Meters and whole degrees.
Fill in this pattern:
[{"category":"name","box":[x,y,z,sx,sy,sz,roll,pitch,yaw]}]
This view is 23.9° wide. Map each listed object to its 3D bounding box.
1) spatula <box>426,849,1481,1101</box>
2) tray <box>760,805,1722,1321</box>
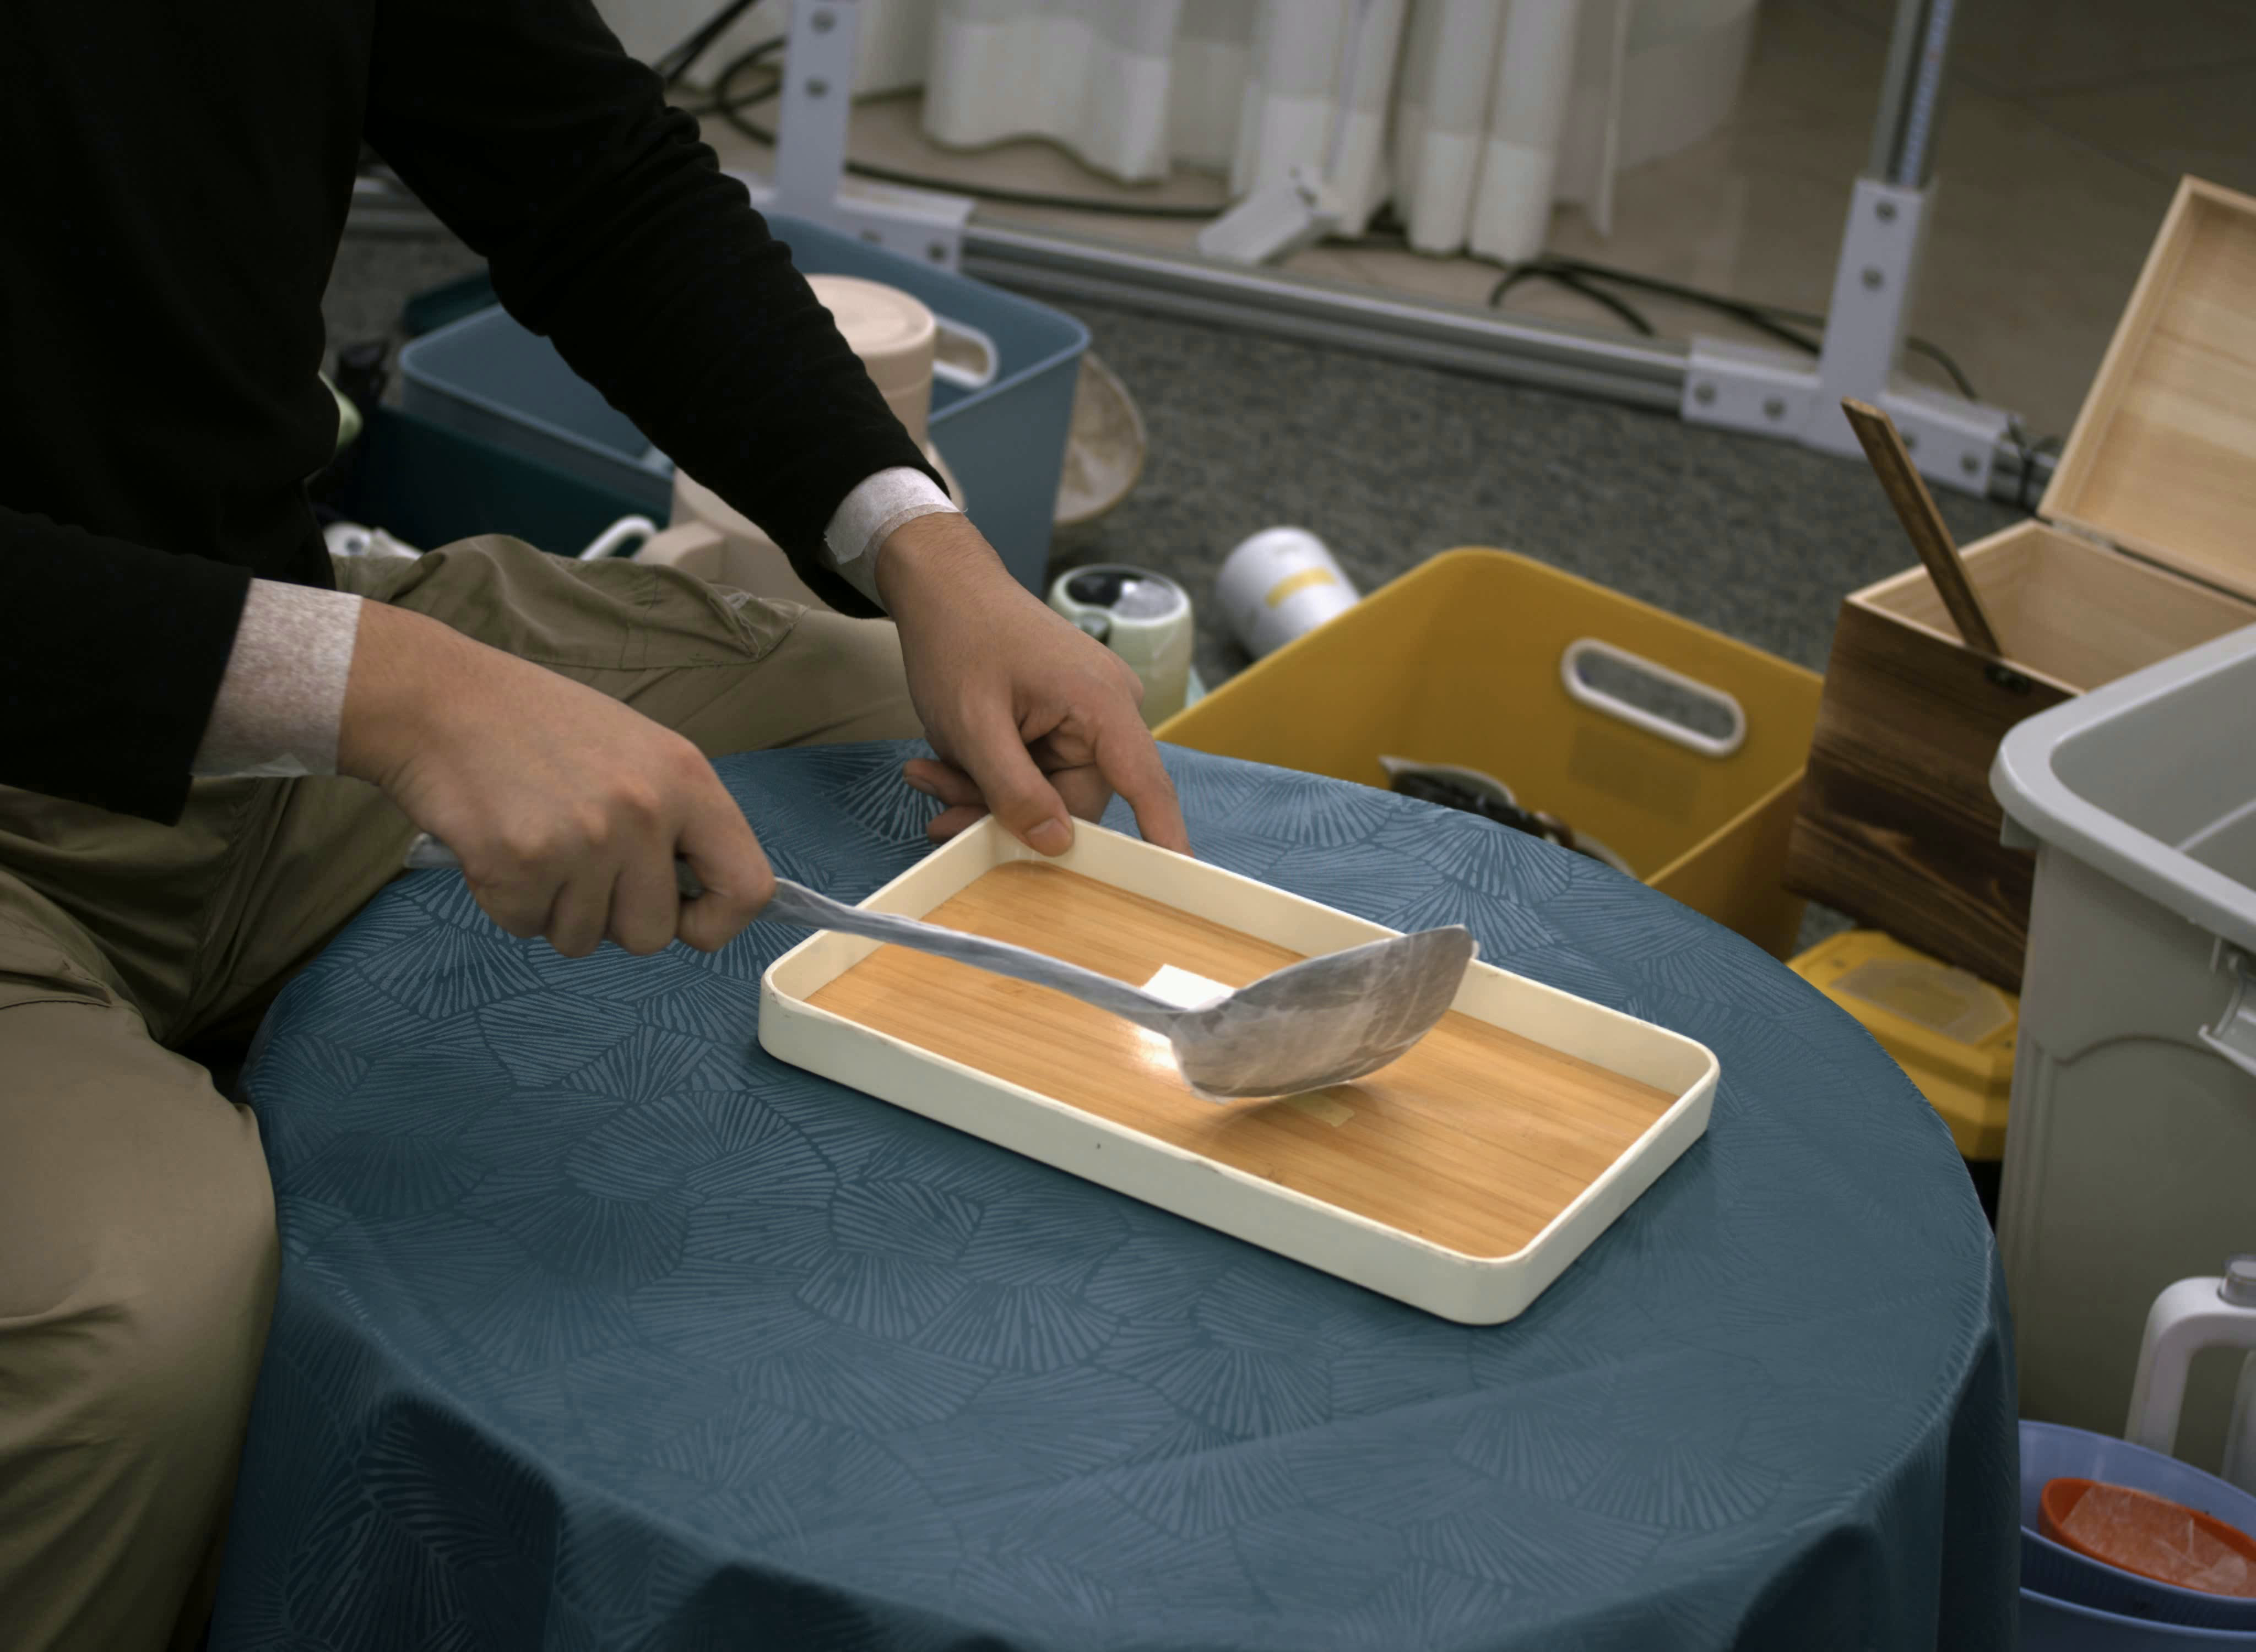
[{"category":"spatula","box":[-0.055,0.039,1.784,0.362,0.098,0.045,13,49,-16]},{"category":"tray","box":[0.040,0.079,1.869,0.301,0.027,0.191,20,30,24]}]
